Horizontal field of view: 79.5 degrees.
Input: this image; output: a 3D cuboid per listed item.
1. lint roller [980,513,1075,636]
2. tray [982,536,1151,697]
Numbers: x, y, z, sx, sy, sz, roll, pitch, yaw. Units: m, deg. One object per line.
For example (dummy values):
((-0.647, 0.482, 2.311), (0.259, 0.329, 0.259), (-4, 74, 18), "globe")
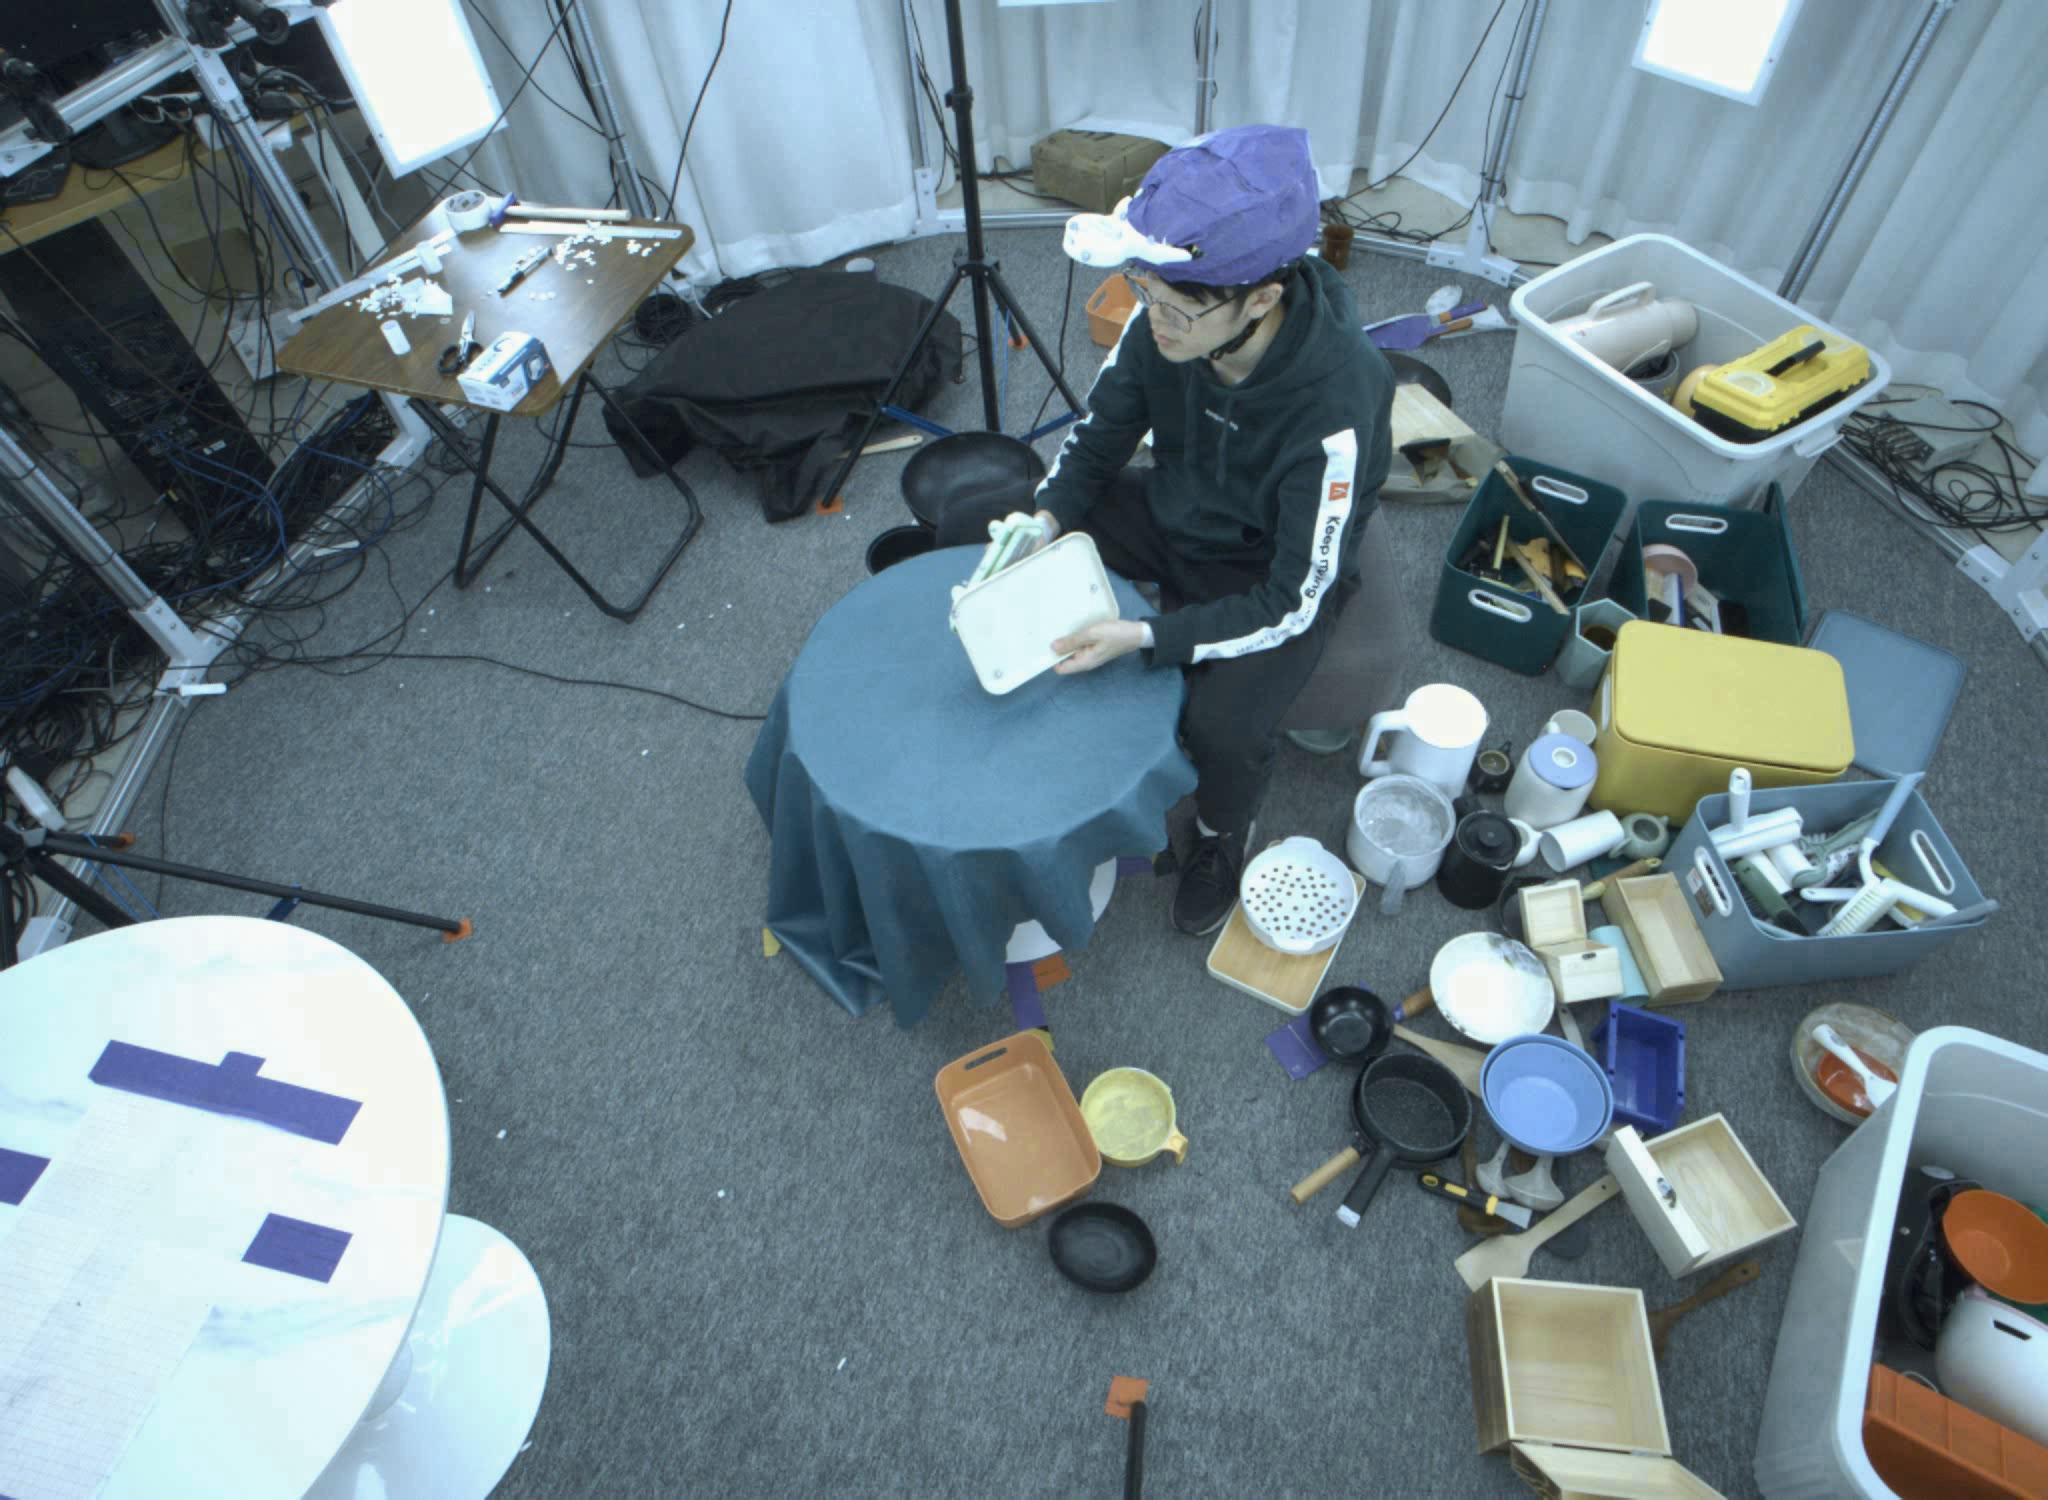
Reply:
((0.014, -0.270, 1.813), (0.082, 0.198, 0.184), (35, 26, 4), "lint roller")
((0.062, -0.193, 1.769), (0.241, 0.174, 0.017), (-30, 32, -12), "tray")
